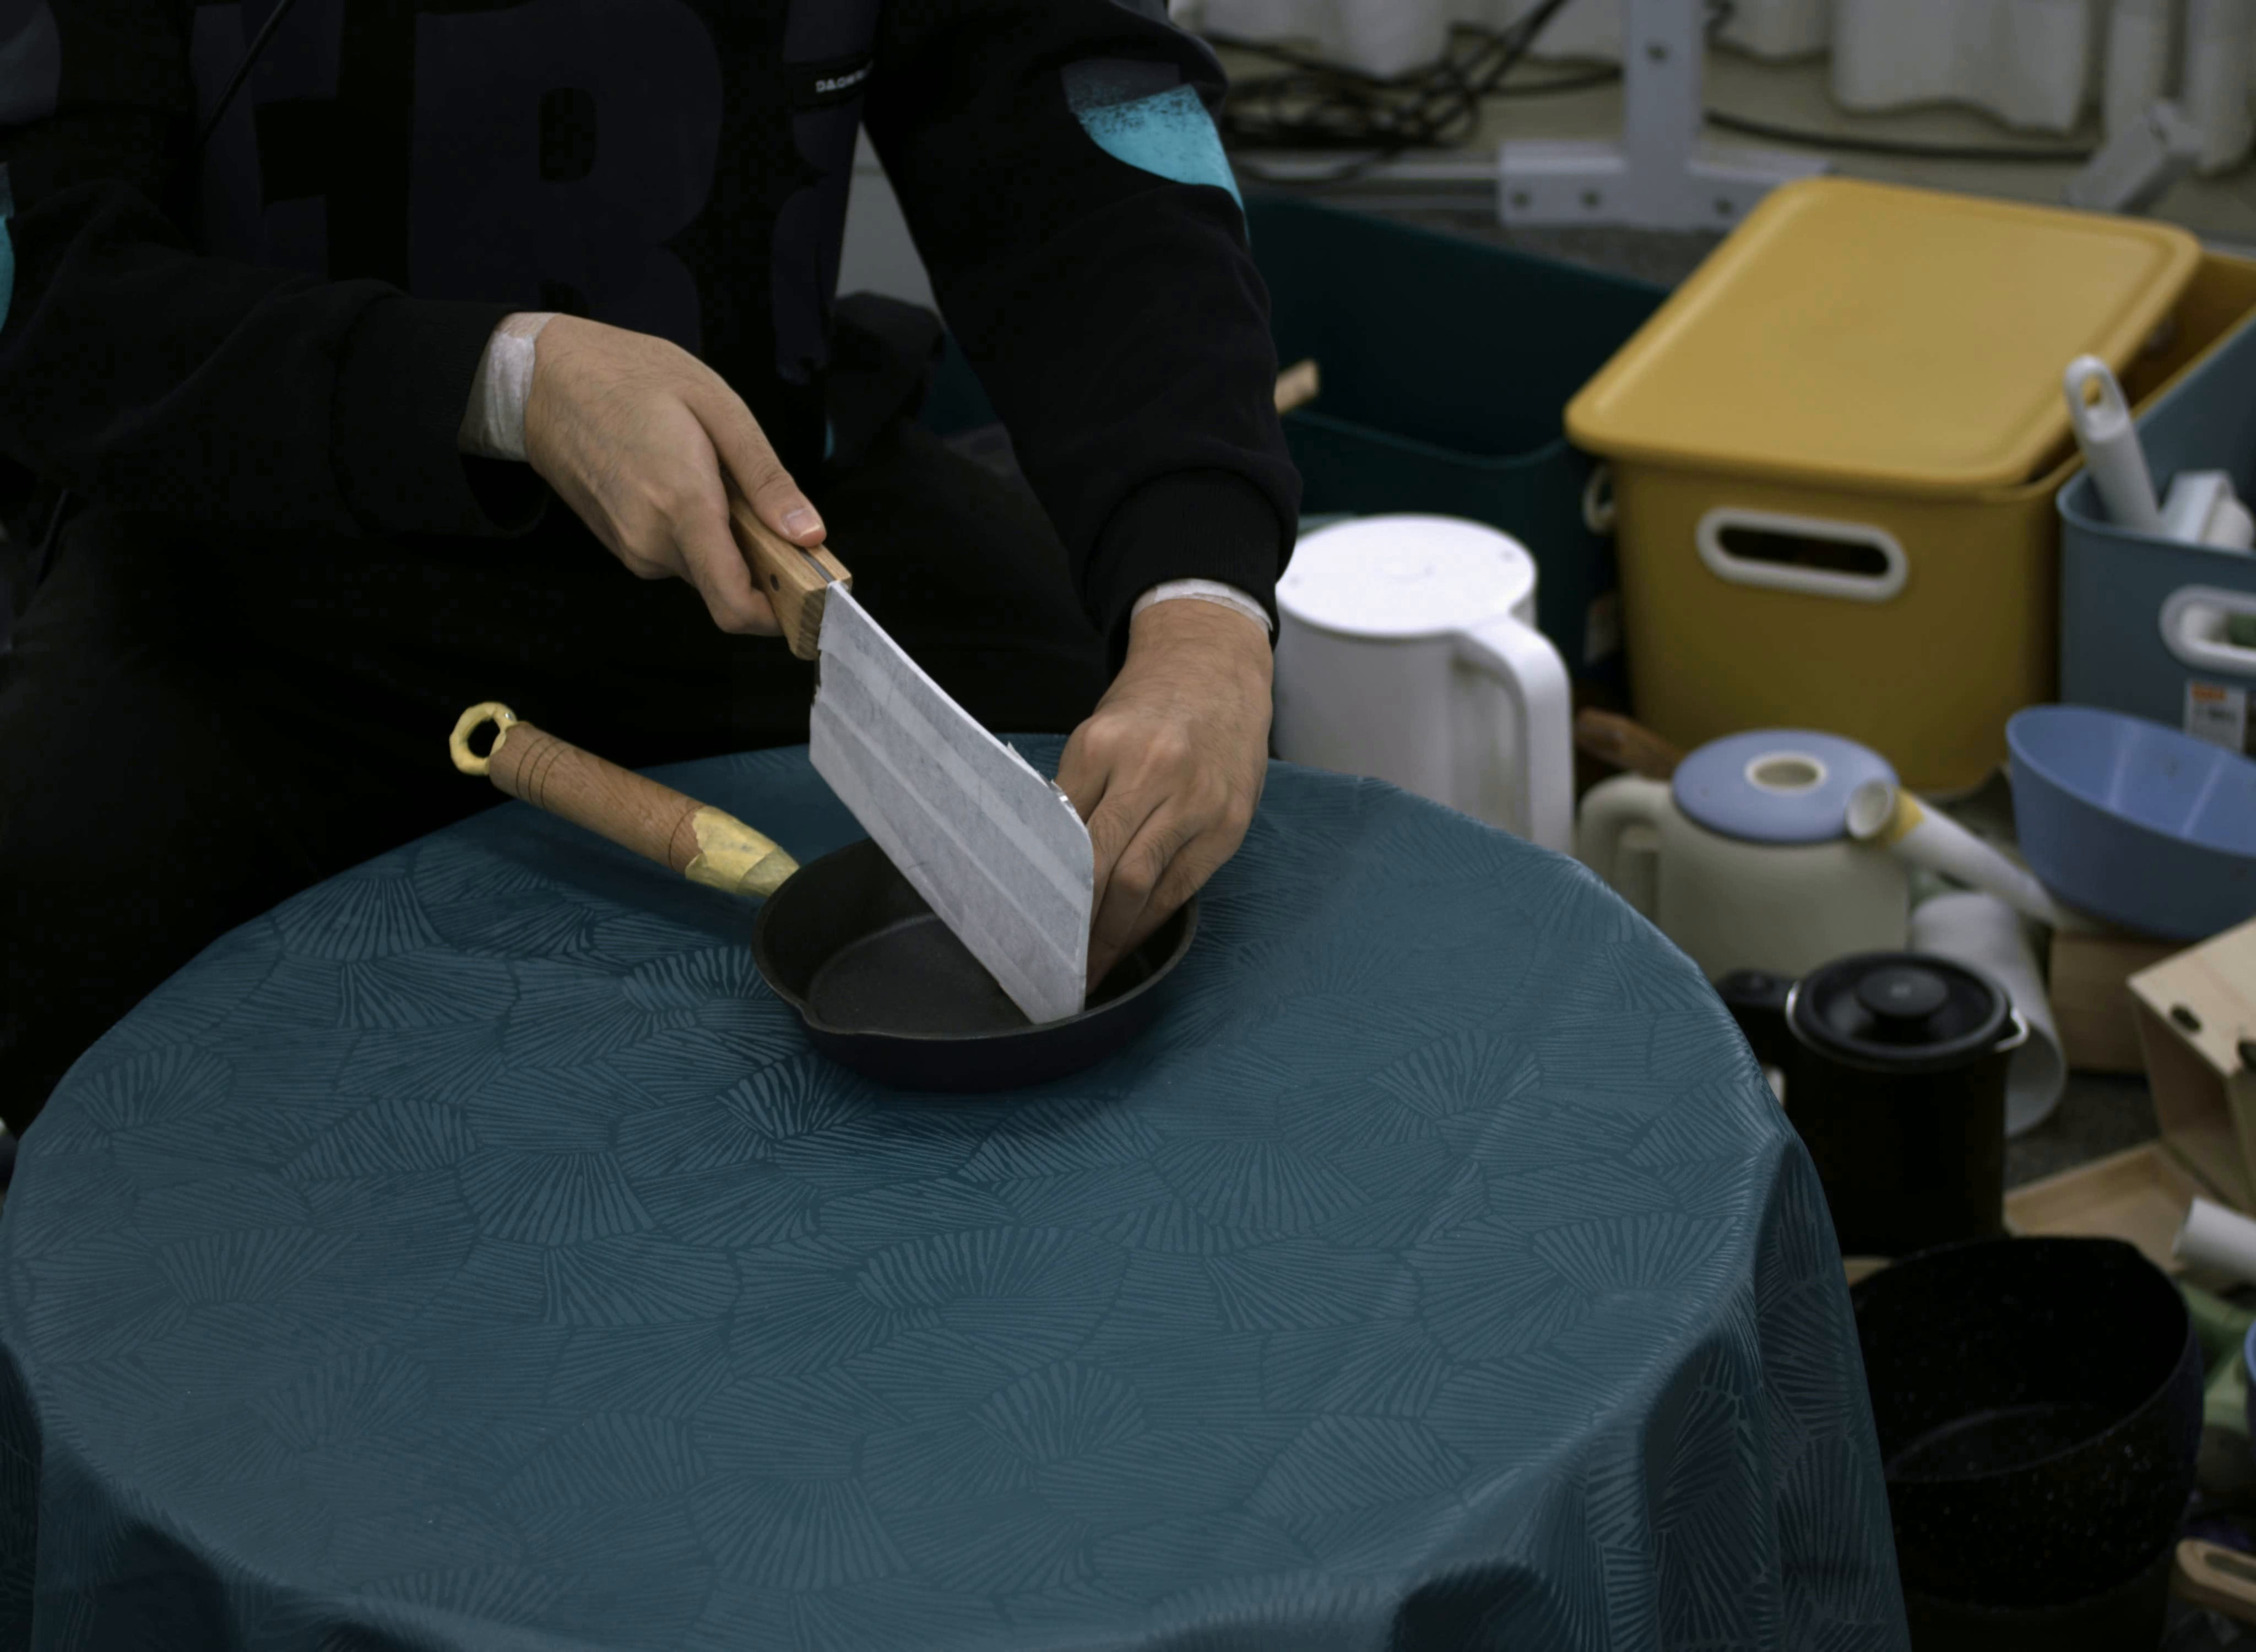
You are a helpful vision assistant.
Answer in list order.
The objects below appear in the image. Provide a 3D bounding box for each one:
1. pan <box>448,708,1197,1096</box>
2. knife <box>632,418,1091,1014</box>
[{"bbox_3d":[-0.120,0.021,2.015,0.323,0.049,0.171,19,34,33],"label":"pan"},{"bbox_3d":[-0.094,-0.047,2.003,0.022,0.112,0.318,-16,46,-29],"label":"knife"}]
